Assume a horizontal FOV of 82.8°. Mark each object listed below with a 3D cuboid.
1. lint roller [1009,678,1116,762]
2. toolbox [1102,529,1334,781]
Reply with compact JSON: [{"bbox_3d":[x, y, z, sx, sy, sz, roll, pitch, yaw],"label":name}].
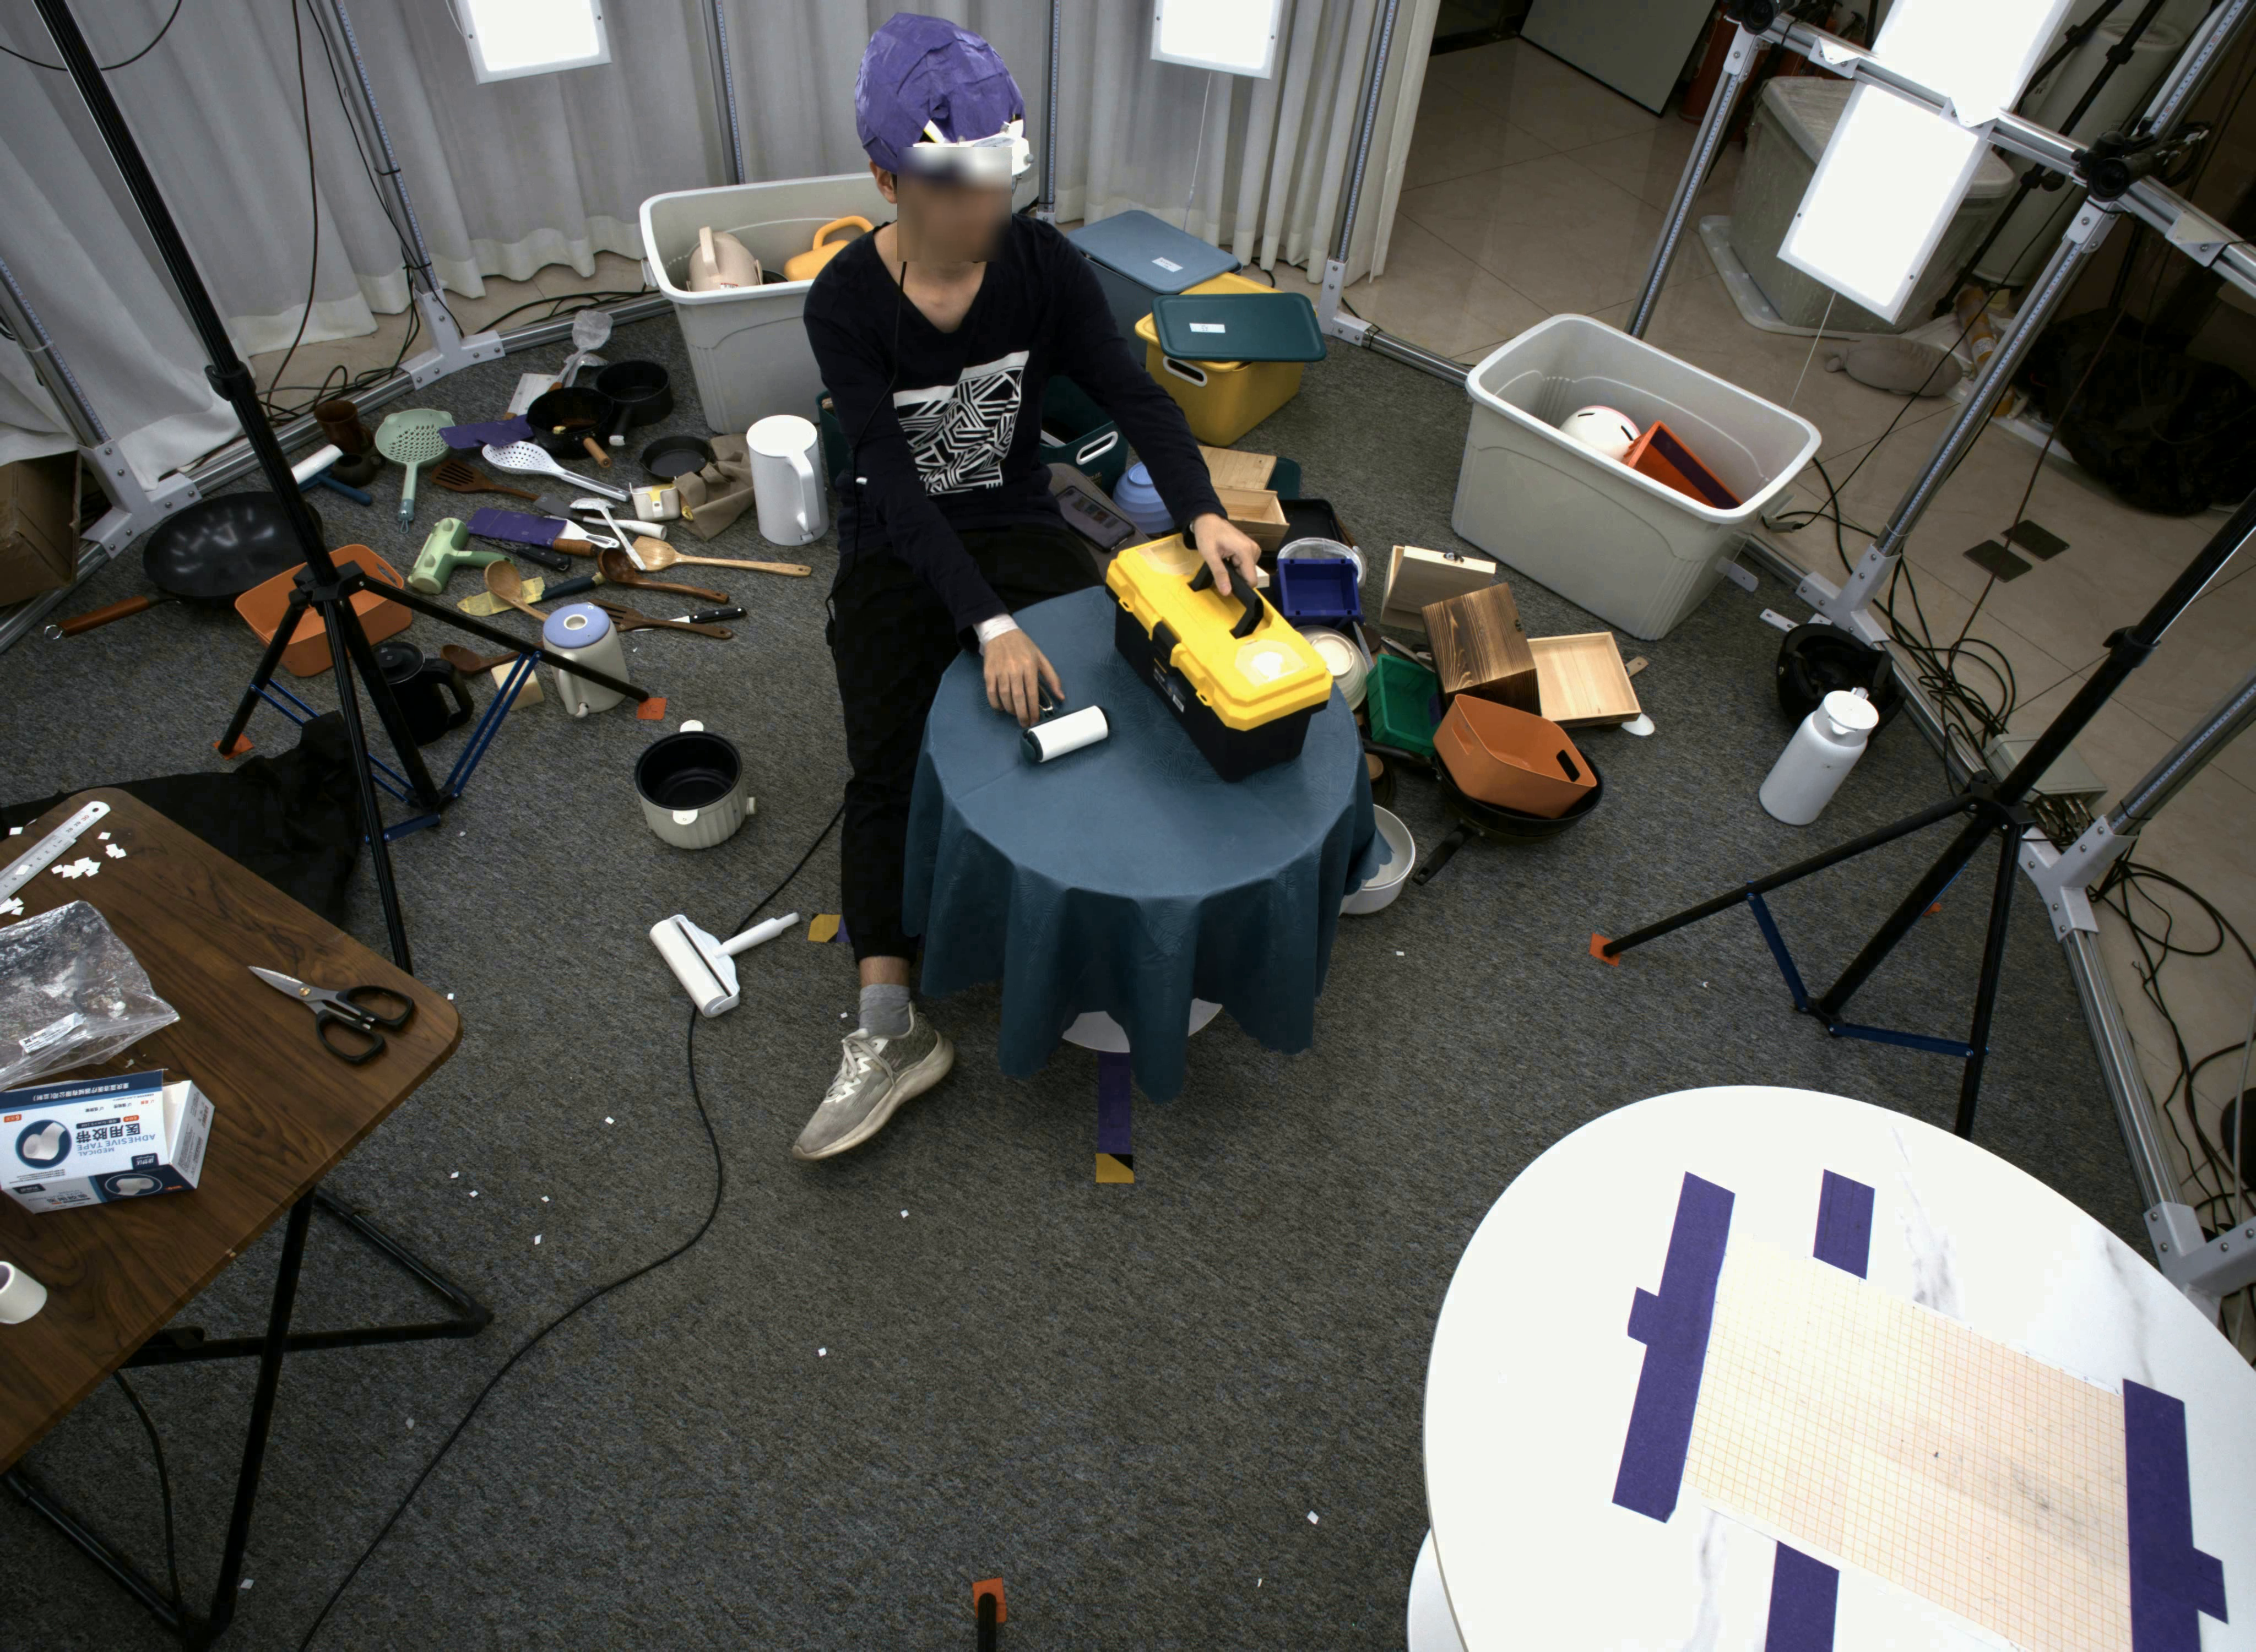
[{"bbox_3d":[-0.116,-0.169,1.780,0.135,0.047,0.184,-22,51,-21],"label":"lint roller"},{"bbox_3d":[0.114,-0.237,1.769,0.182,0.168,0.359,-21,53,-21],"label":"toolbox"}]
